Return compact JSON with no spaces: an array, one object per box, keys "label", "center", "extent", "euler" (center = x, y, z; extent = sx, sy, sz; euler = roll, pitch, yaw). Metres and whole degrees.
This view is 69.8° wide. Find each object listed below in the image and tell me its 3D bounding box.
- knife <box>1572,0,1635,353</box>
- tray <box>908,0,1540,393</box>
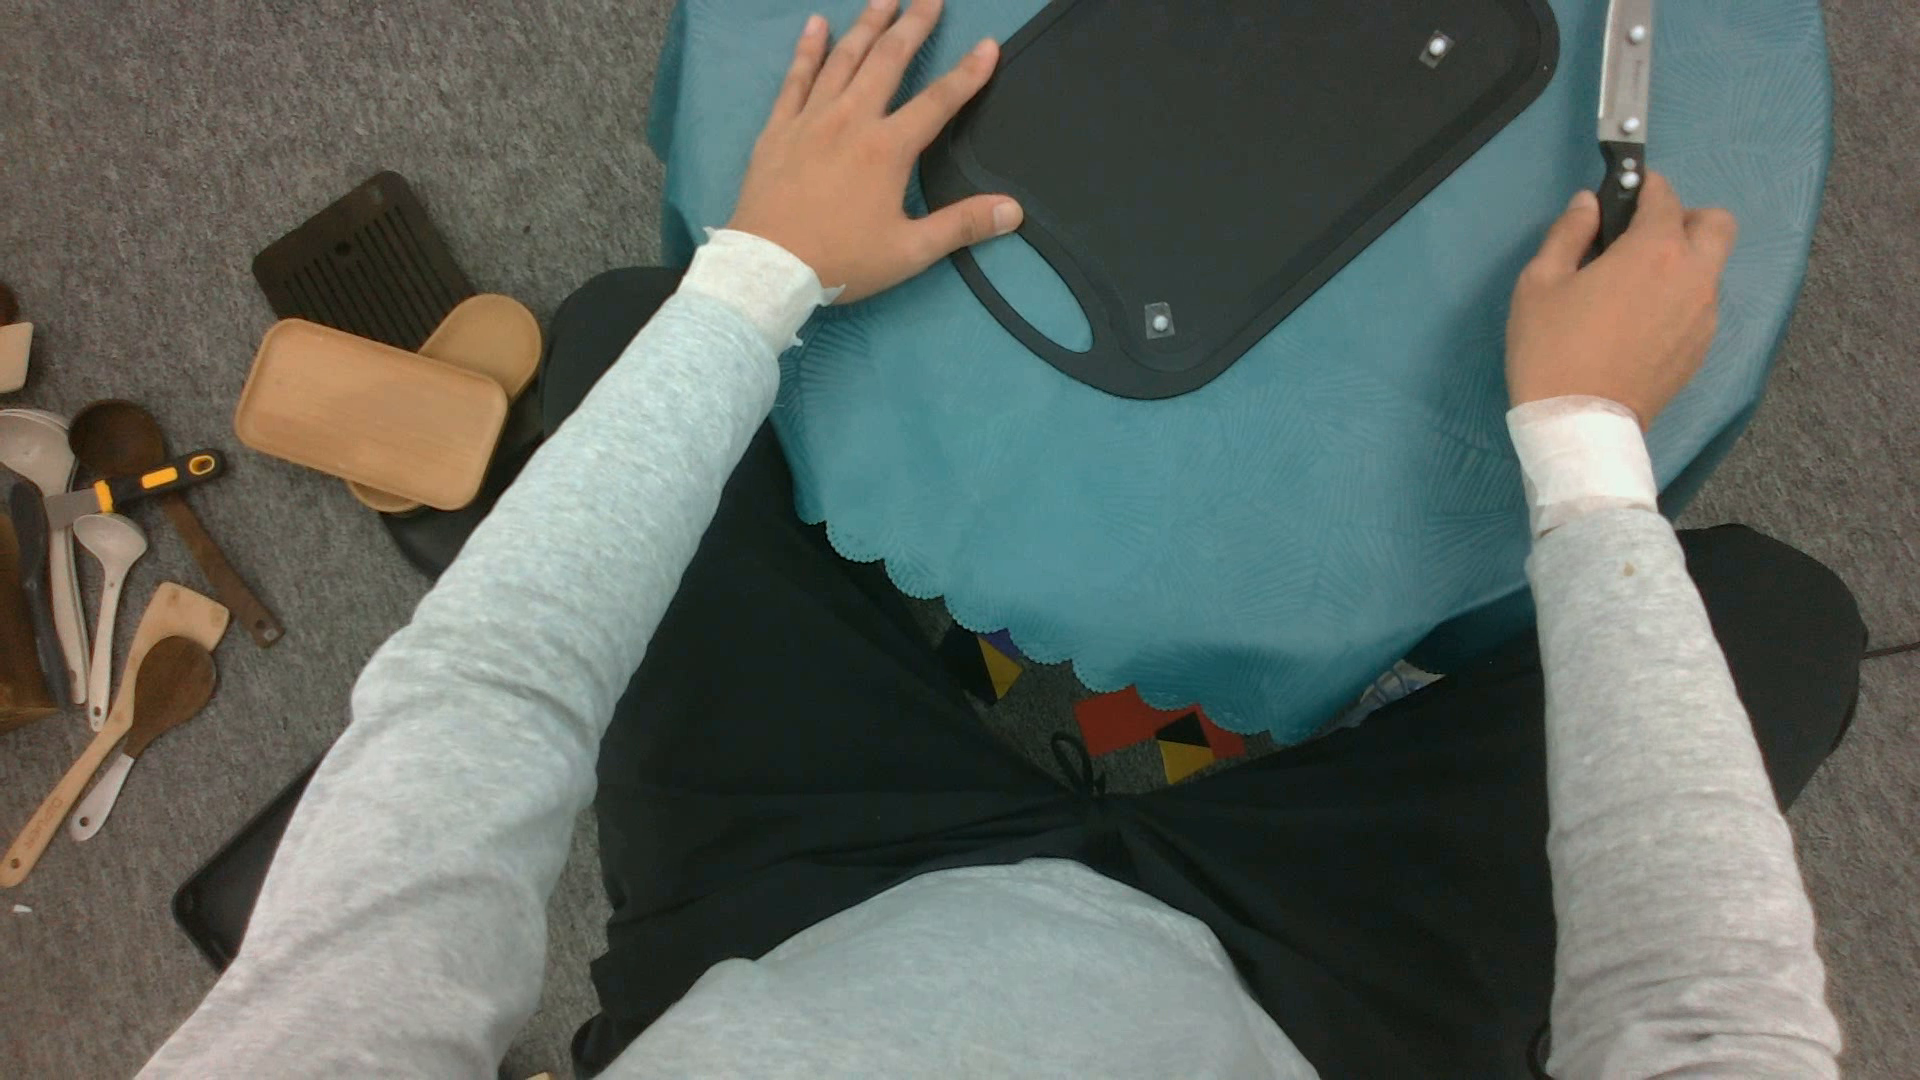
[{"label":"knife","center":[0.325,-0.205,0.689],"extent":[0.024,0.016,0.238],"euler":[8,77,6]},{"label":"tray","center":[0.132,-0.229,0.724],"extent":[0.325,0.010,0.211],"euler":[-41,82,-2]}]
